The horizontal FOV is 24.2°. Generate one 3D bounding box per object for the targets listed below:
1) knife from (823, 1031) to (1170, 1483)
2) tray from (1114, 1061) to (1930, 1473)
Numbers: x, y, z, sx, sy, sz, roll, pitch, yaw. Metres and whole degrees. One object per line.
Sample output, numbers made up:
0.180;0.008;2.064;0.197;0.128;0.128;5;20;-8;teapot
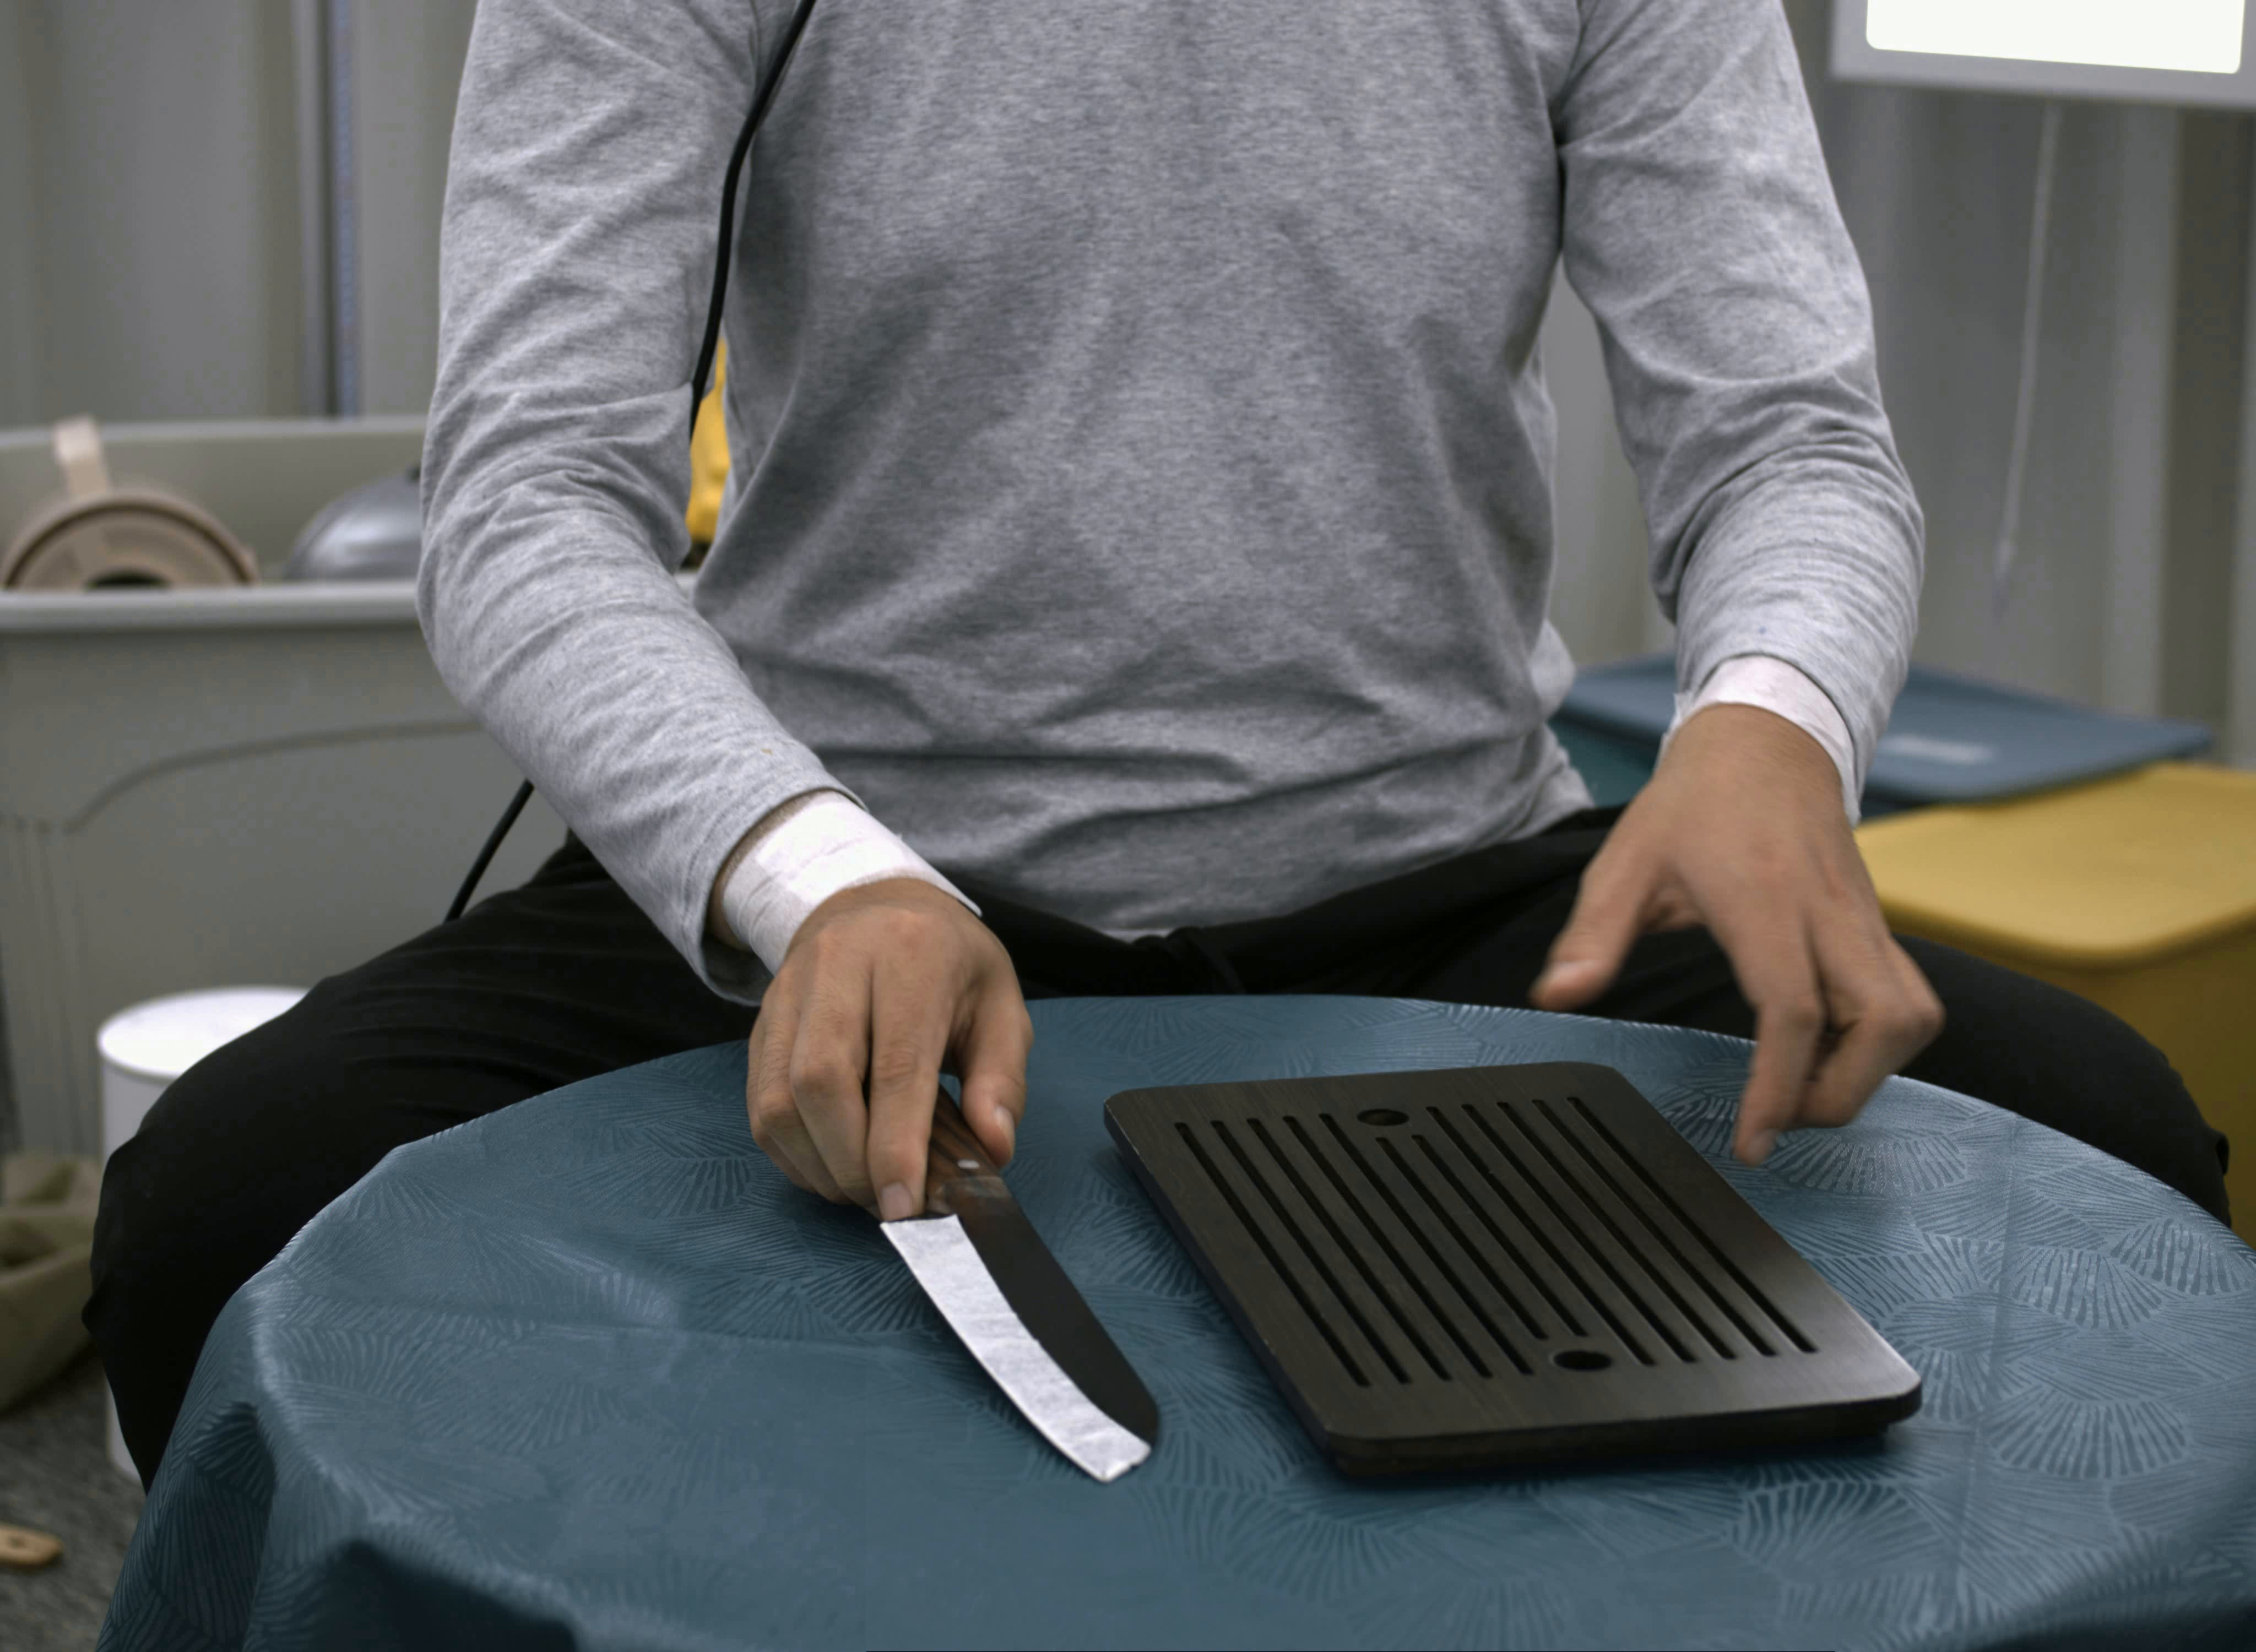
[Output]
-0.043;0.123;1.524;0.050;0.020;0.286;-4;22;-16;knife
0.107;0.126;1.547;0.170;0.019;0.303;-3;15;-12;tray
